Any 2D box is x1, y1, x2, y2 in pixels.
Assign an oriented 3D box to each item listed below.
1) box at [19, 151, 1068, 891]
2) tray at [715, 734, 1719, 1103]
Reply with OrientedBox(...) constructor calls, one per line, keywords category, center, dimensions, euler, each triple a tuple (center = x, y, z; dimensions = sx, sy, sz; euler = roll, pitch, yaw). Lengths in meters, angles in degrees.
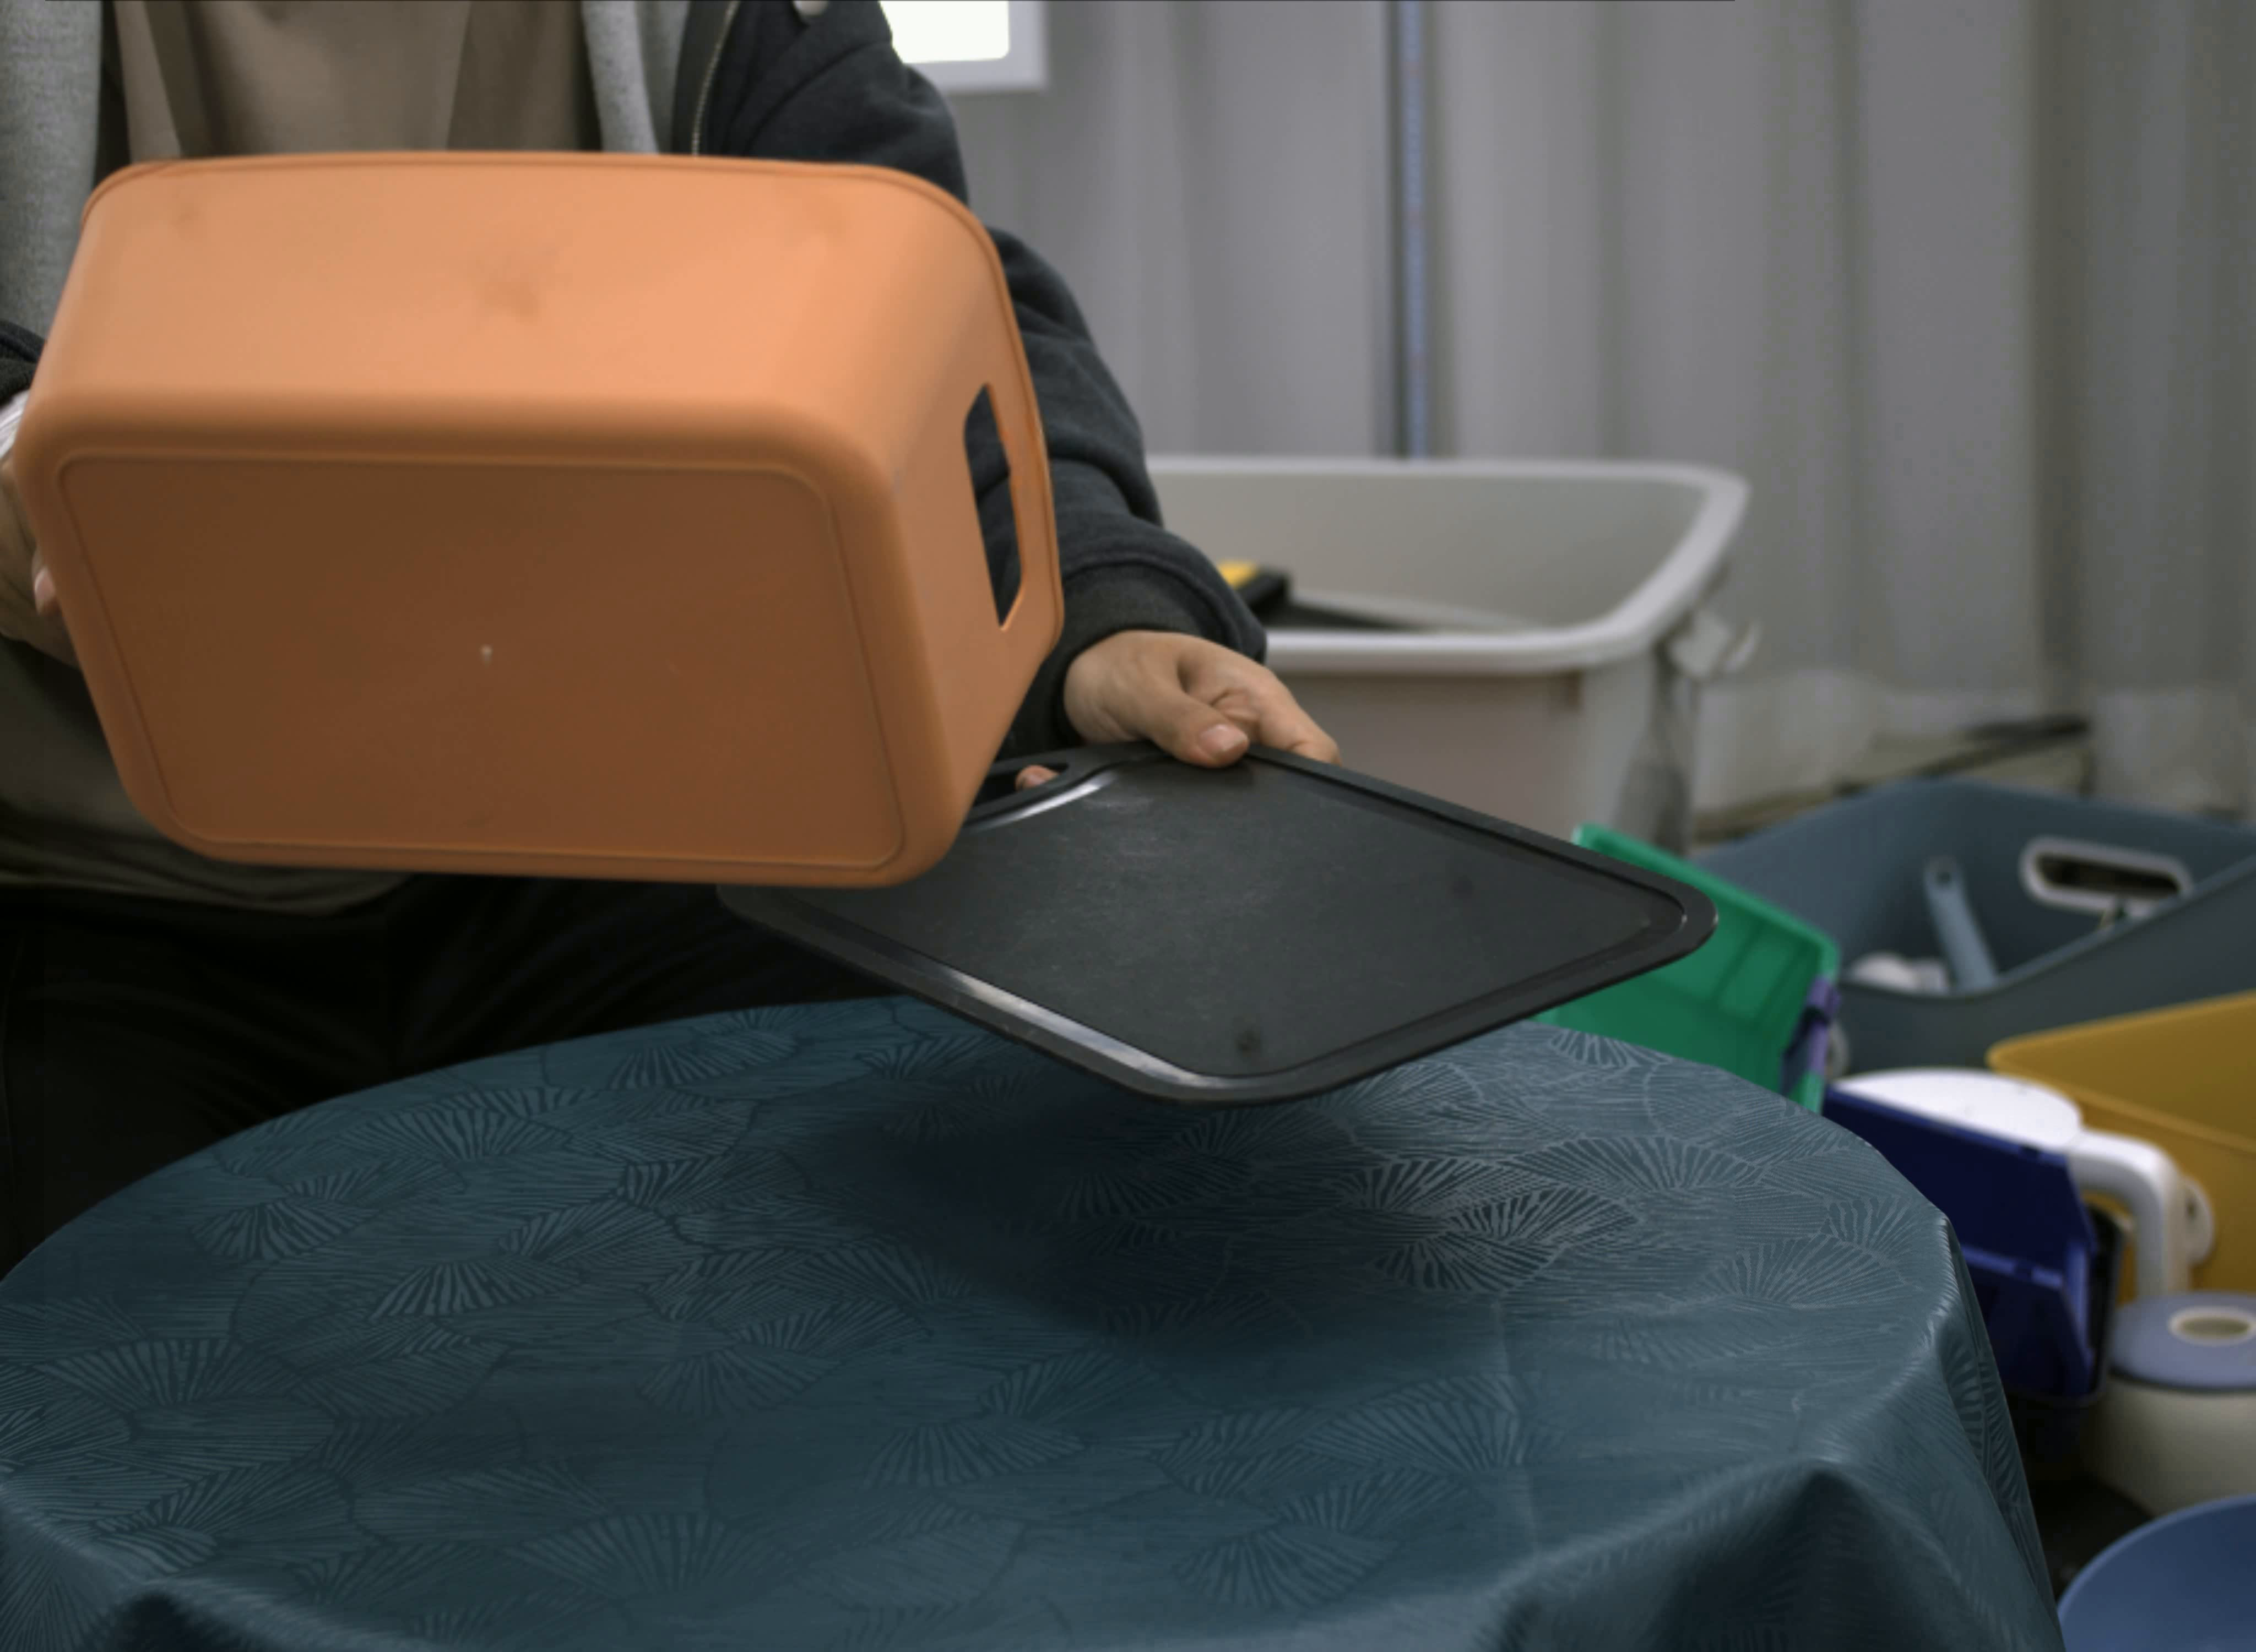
OrientedBox(category="box", center=(-0.164, -0.077, 1.517), dimensions=(0.273, 0.197, 0.104), euler=(2, 44, 14))
OrientedBox(category="tray", center=(0.017, 0.022, 1.705), dimensions=(0.210, 0.010, 0.328), euler=(-18, 23, -31))
